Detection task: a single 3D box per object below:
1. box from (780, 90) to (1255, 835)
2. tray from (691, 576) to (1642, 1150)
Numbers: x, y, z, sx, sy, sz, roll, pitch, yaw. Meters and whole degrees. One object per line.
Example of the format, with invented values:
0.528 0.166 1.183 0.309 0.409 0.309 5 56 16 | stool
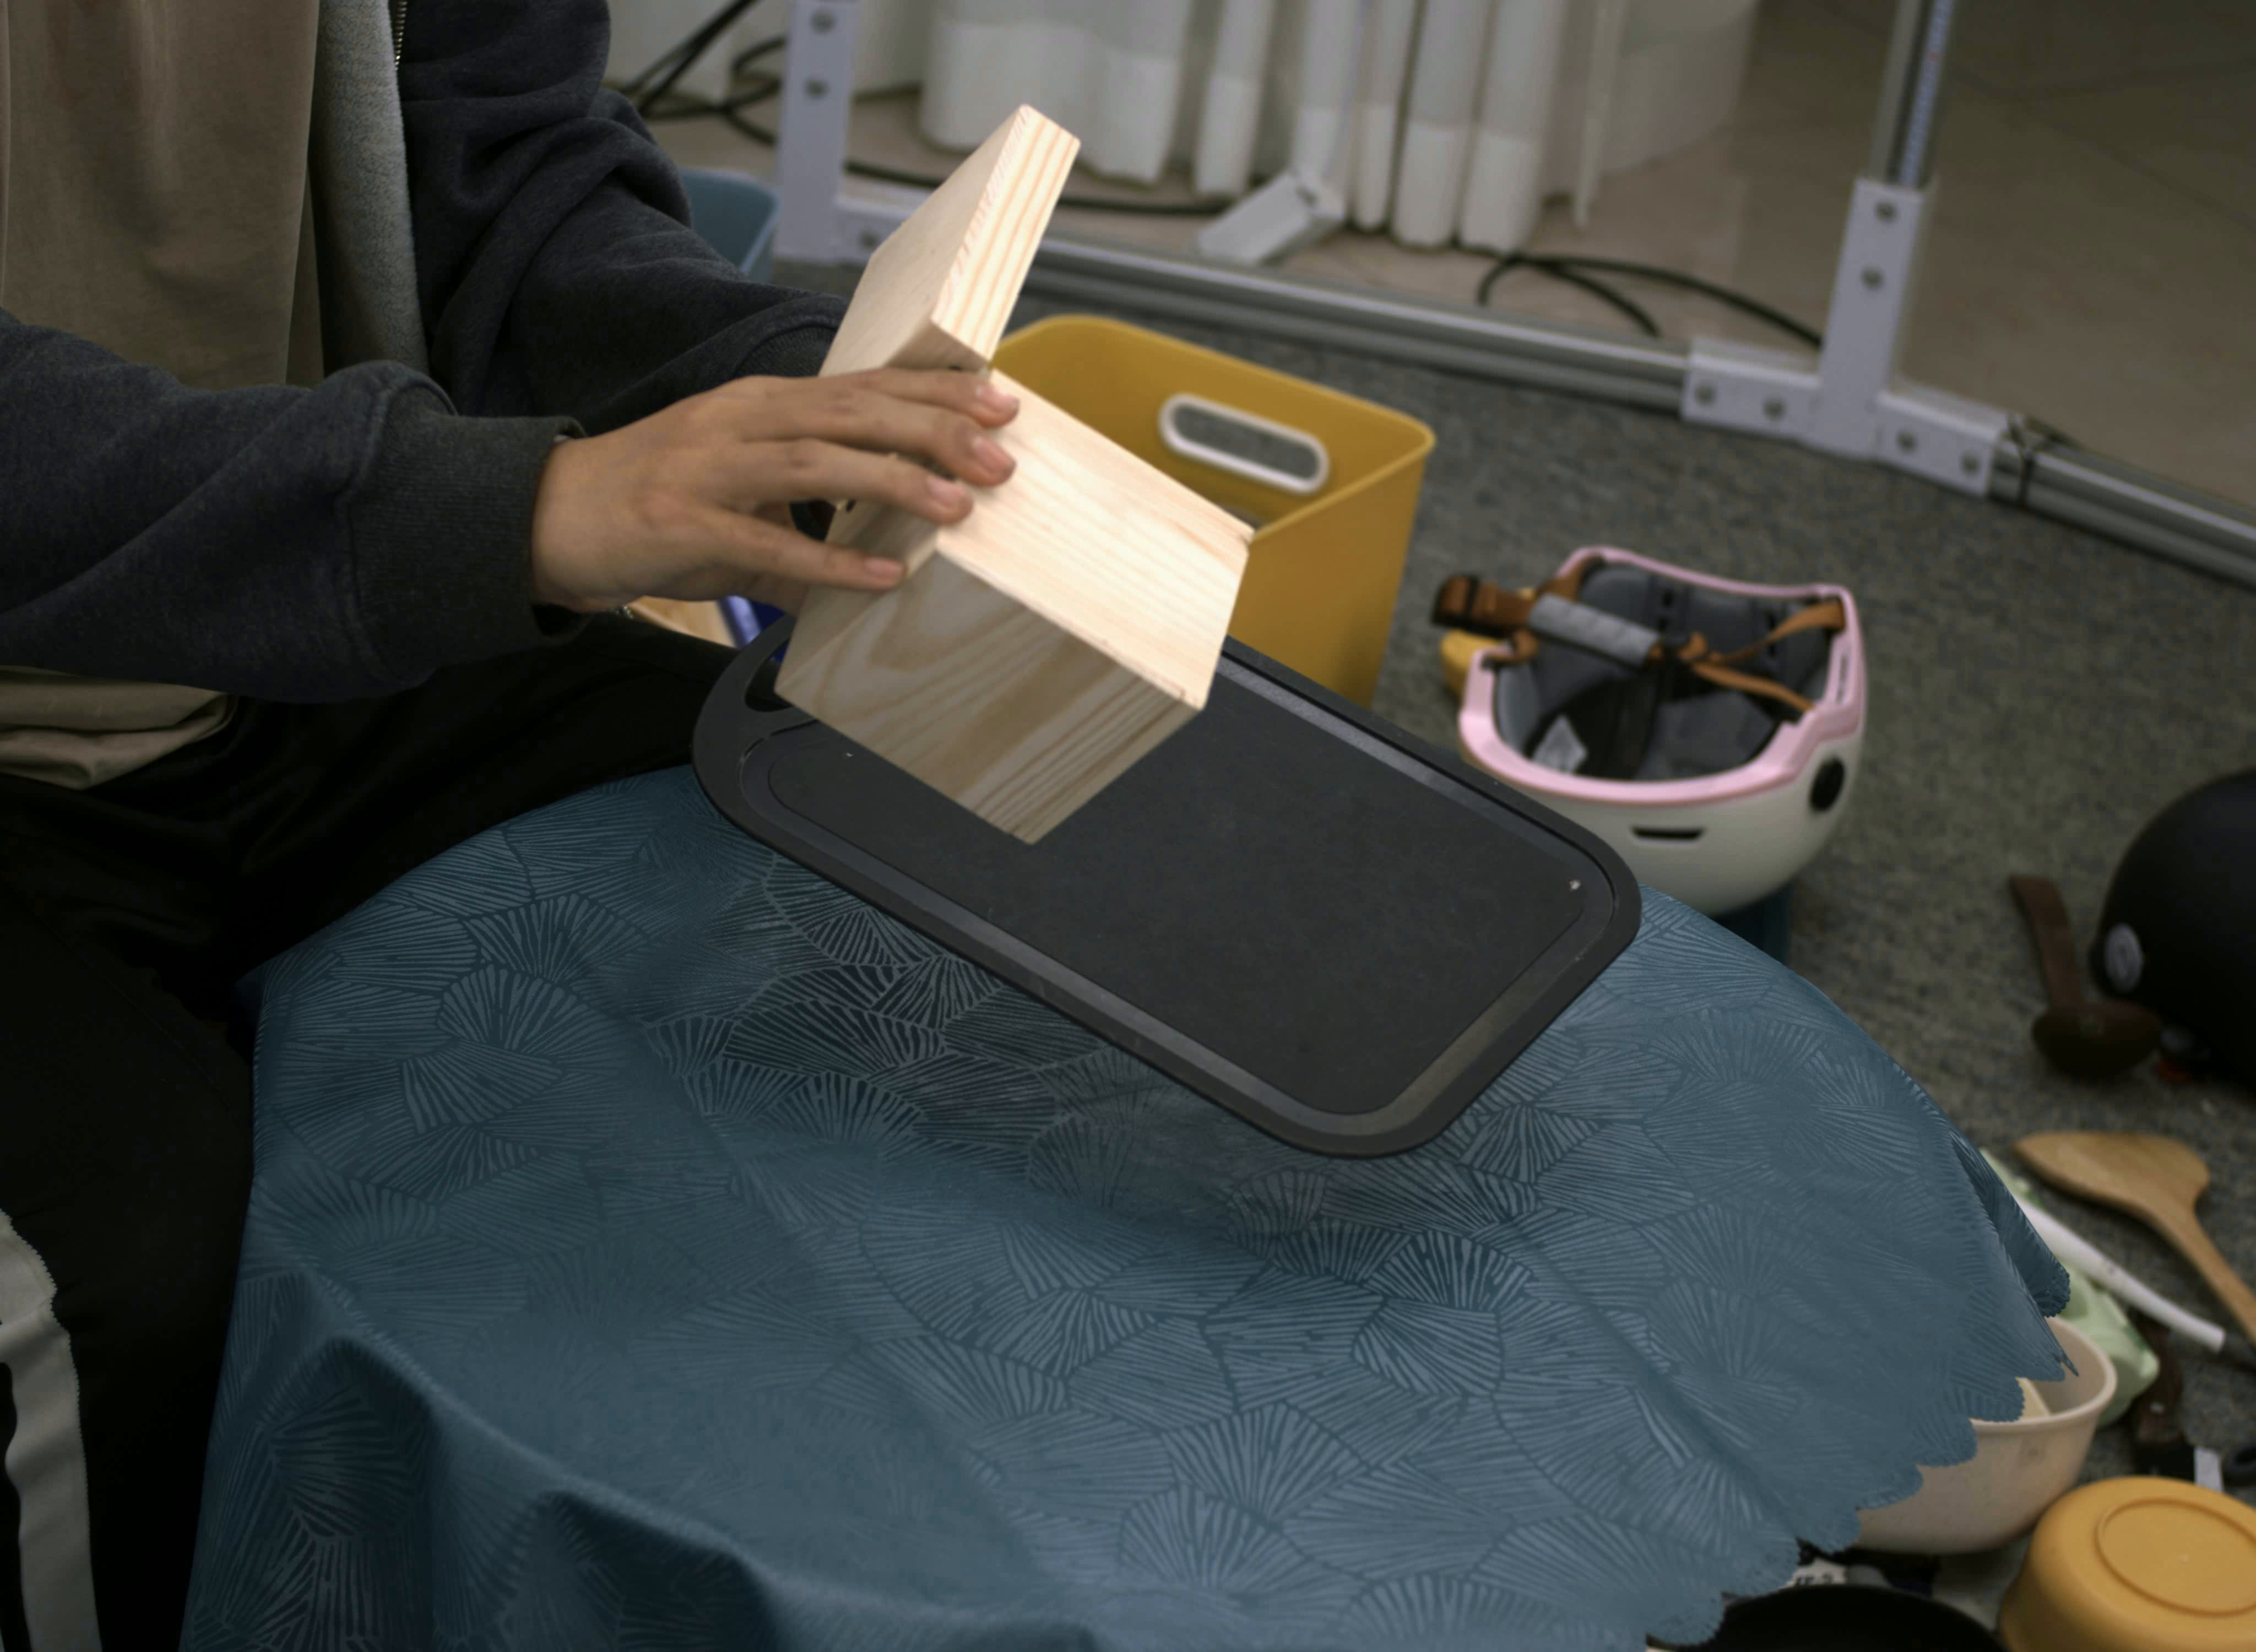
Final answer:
-0.031 -0.116 1.702 0.133 0.102 0.185 29 53 -18 | box
0.007 -0.004 1.862 0.327 0.010 0.211 30 44 22 | tray
